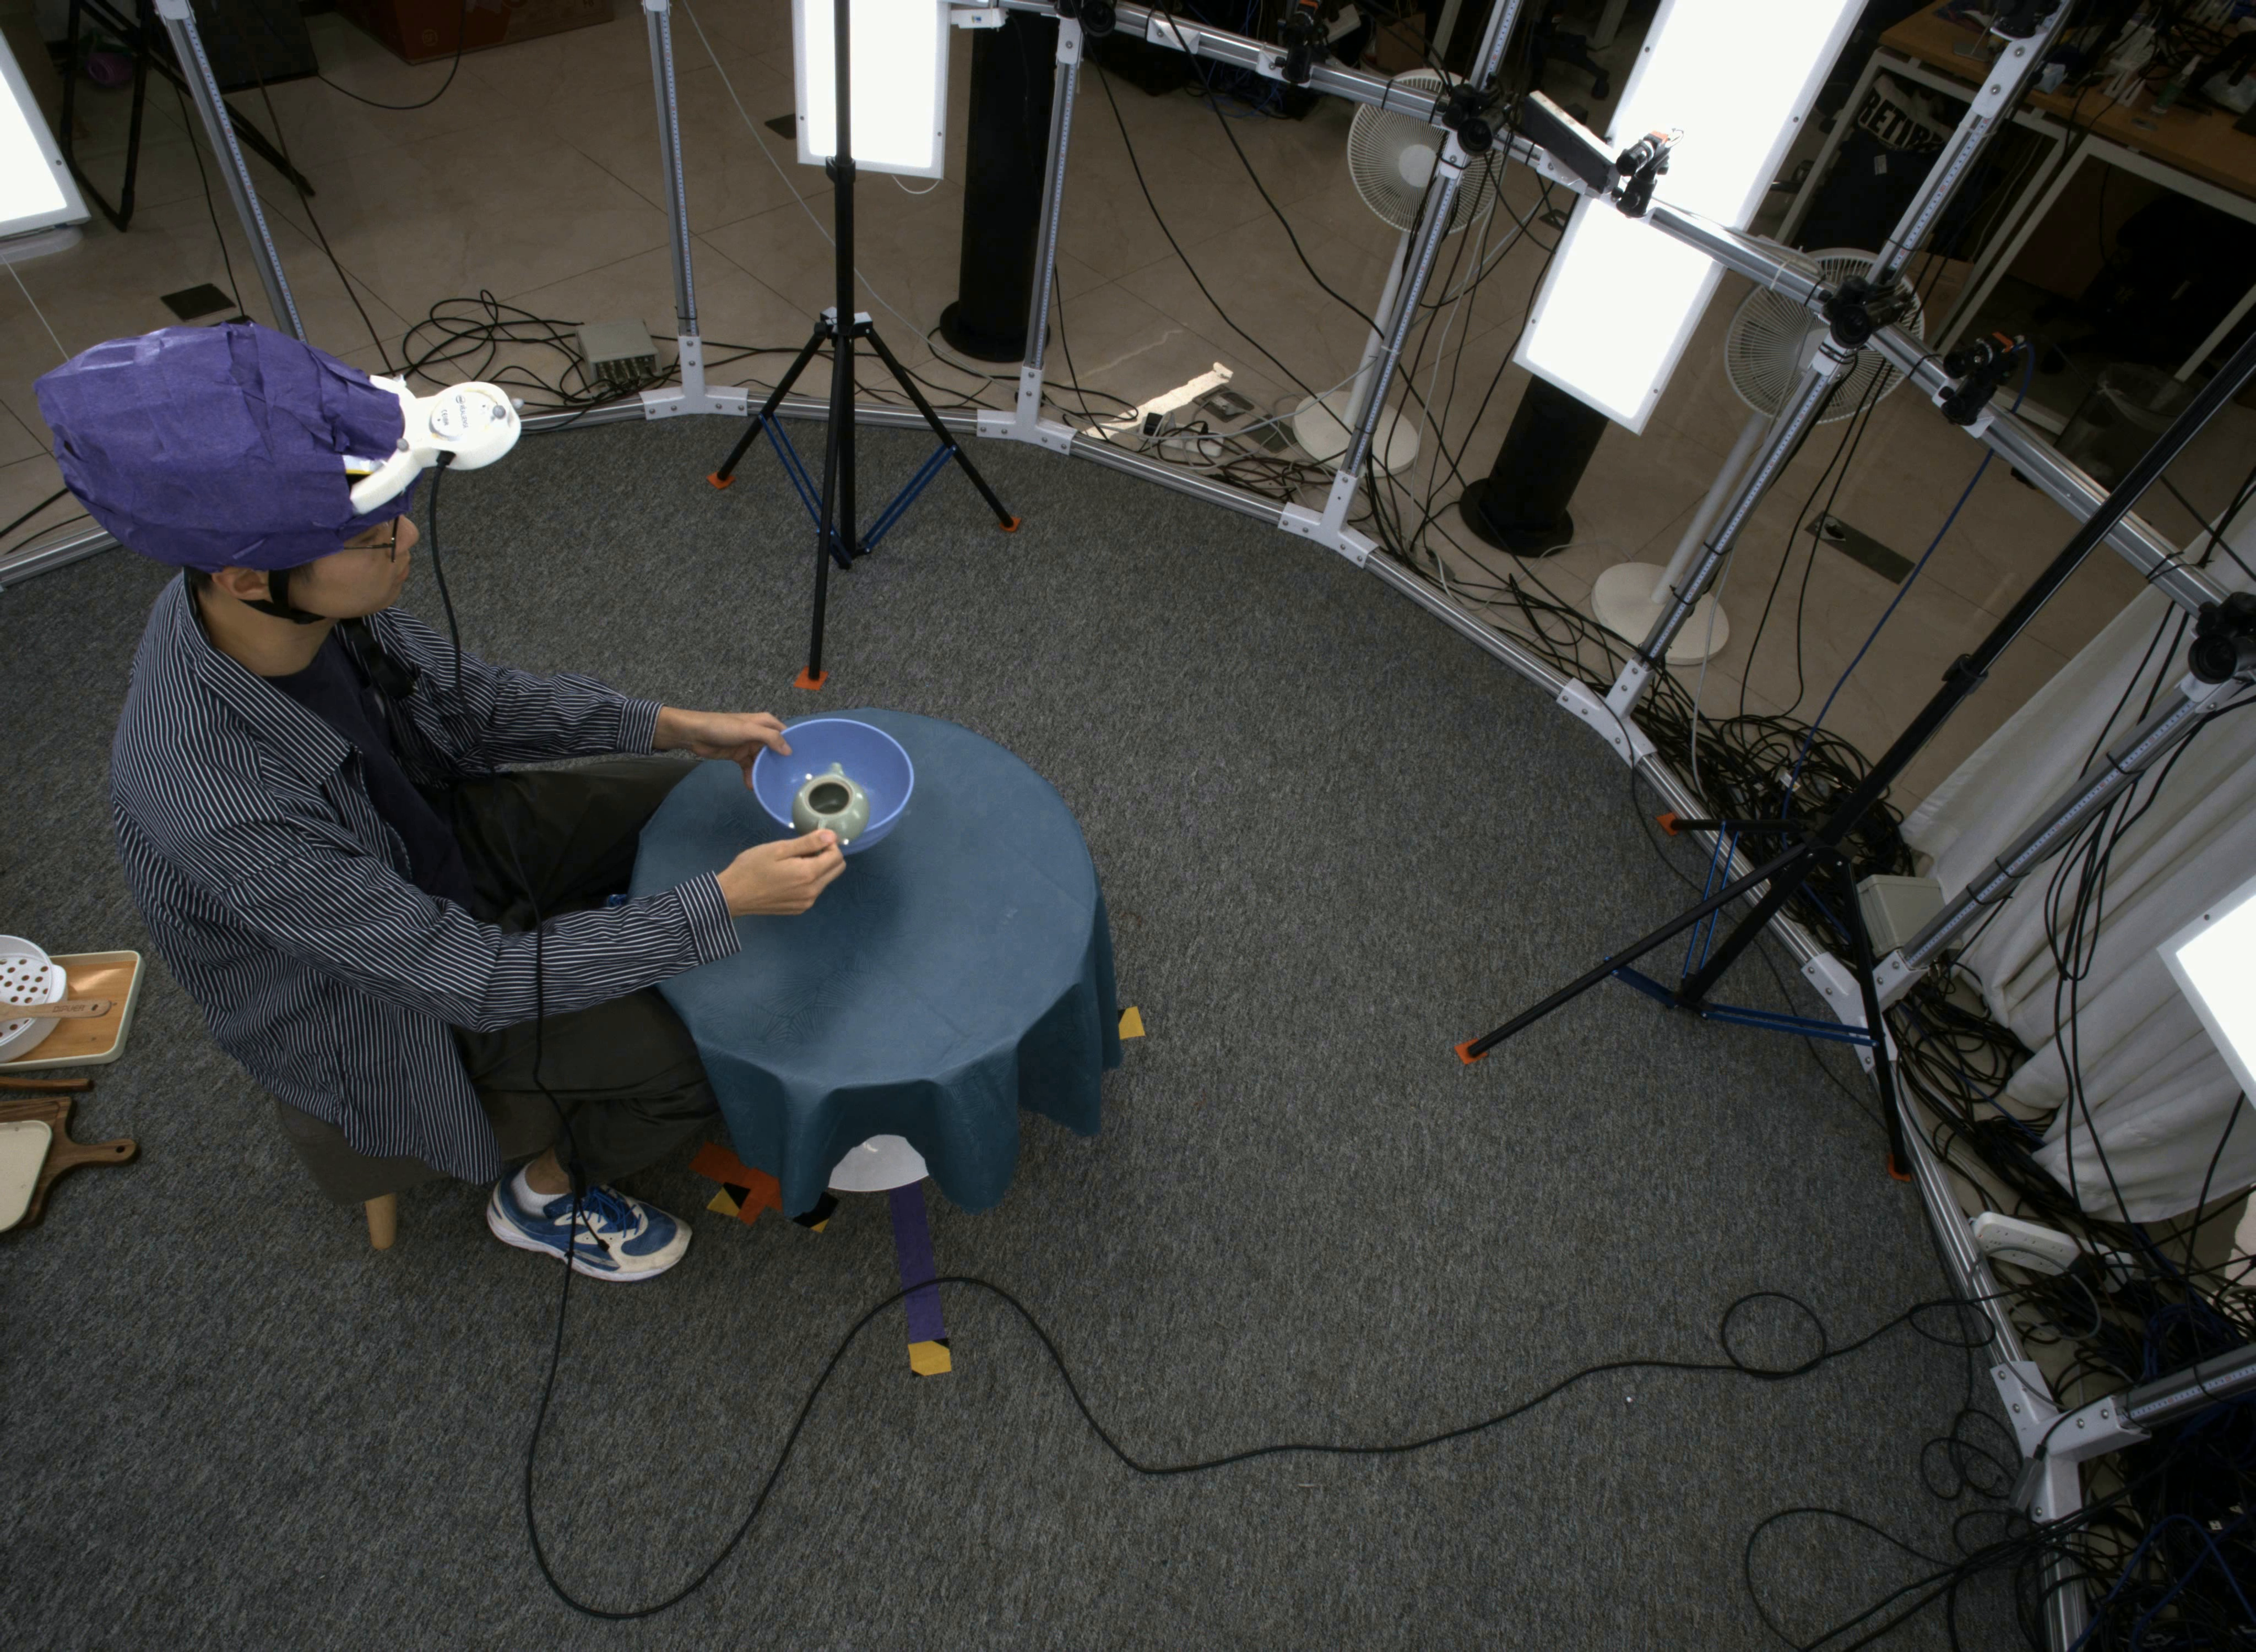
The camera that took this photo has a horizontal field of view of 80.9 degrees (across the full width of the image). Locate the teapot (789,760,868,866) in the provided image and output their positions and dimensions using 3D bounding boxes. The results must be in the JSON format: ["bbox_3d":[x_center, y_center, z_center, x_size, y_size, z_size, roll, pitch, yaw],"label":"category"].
[{"bbox_3d":[-0.353,-0.013,1.519,0.091,0.062,0.127,10,55,-3],"label":"teapot"}]

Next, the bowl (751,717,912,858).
[{"bbox_3d":[-0.372,-0.033,1.637,0.196,0.097,0.193,8,50,-7],"label":"bowl"}]
